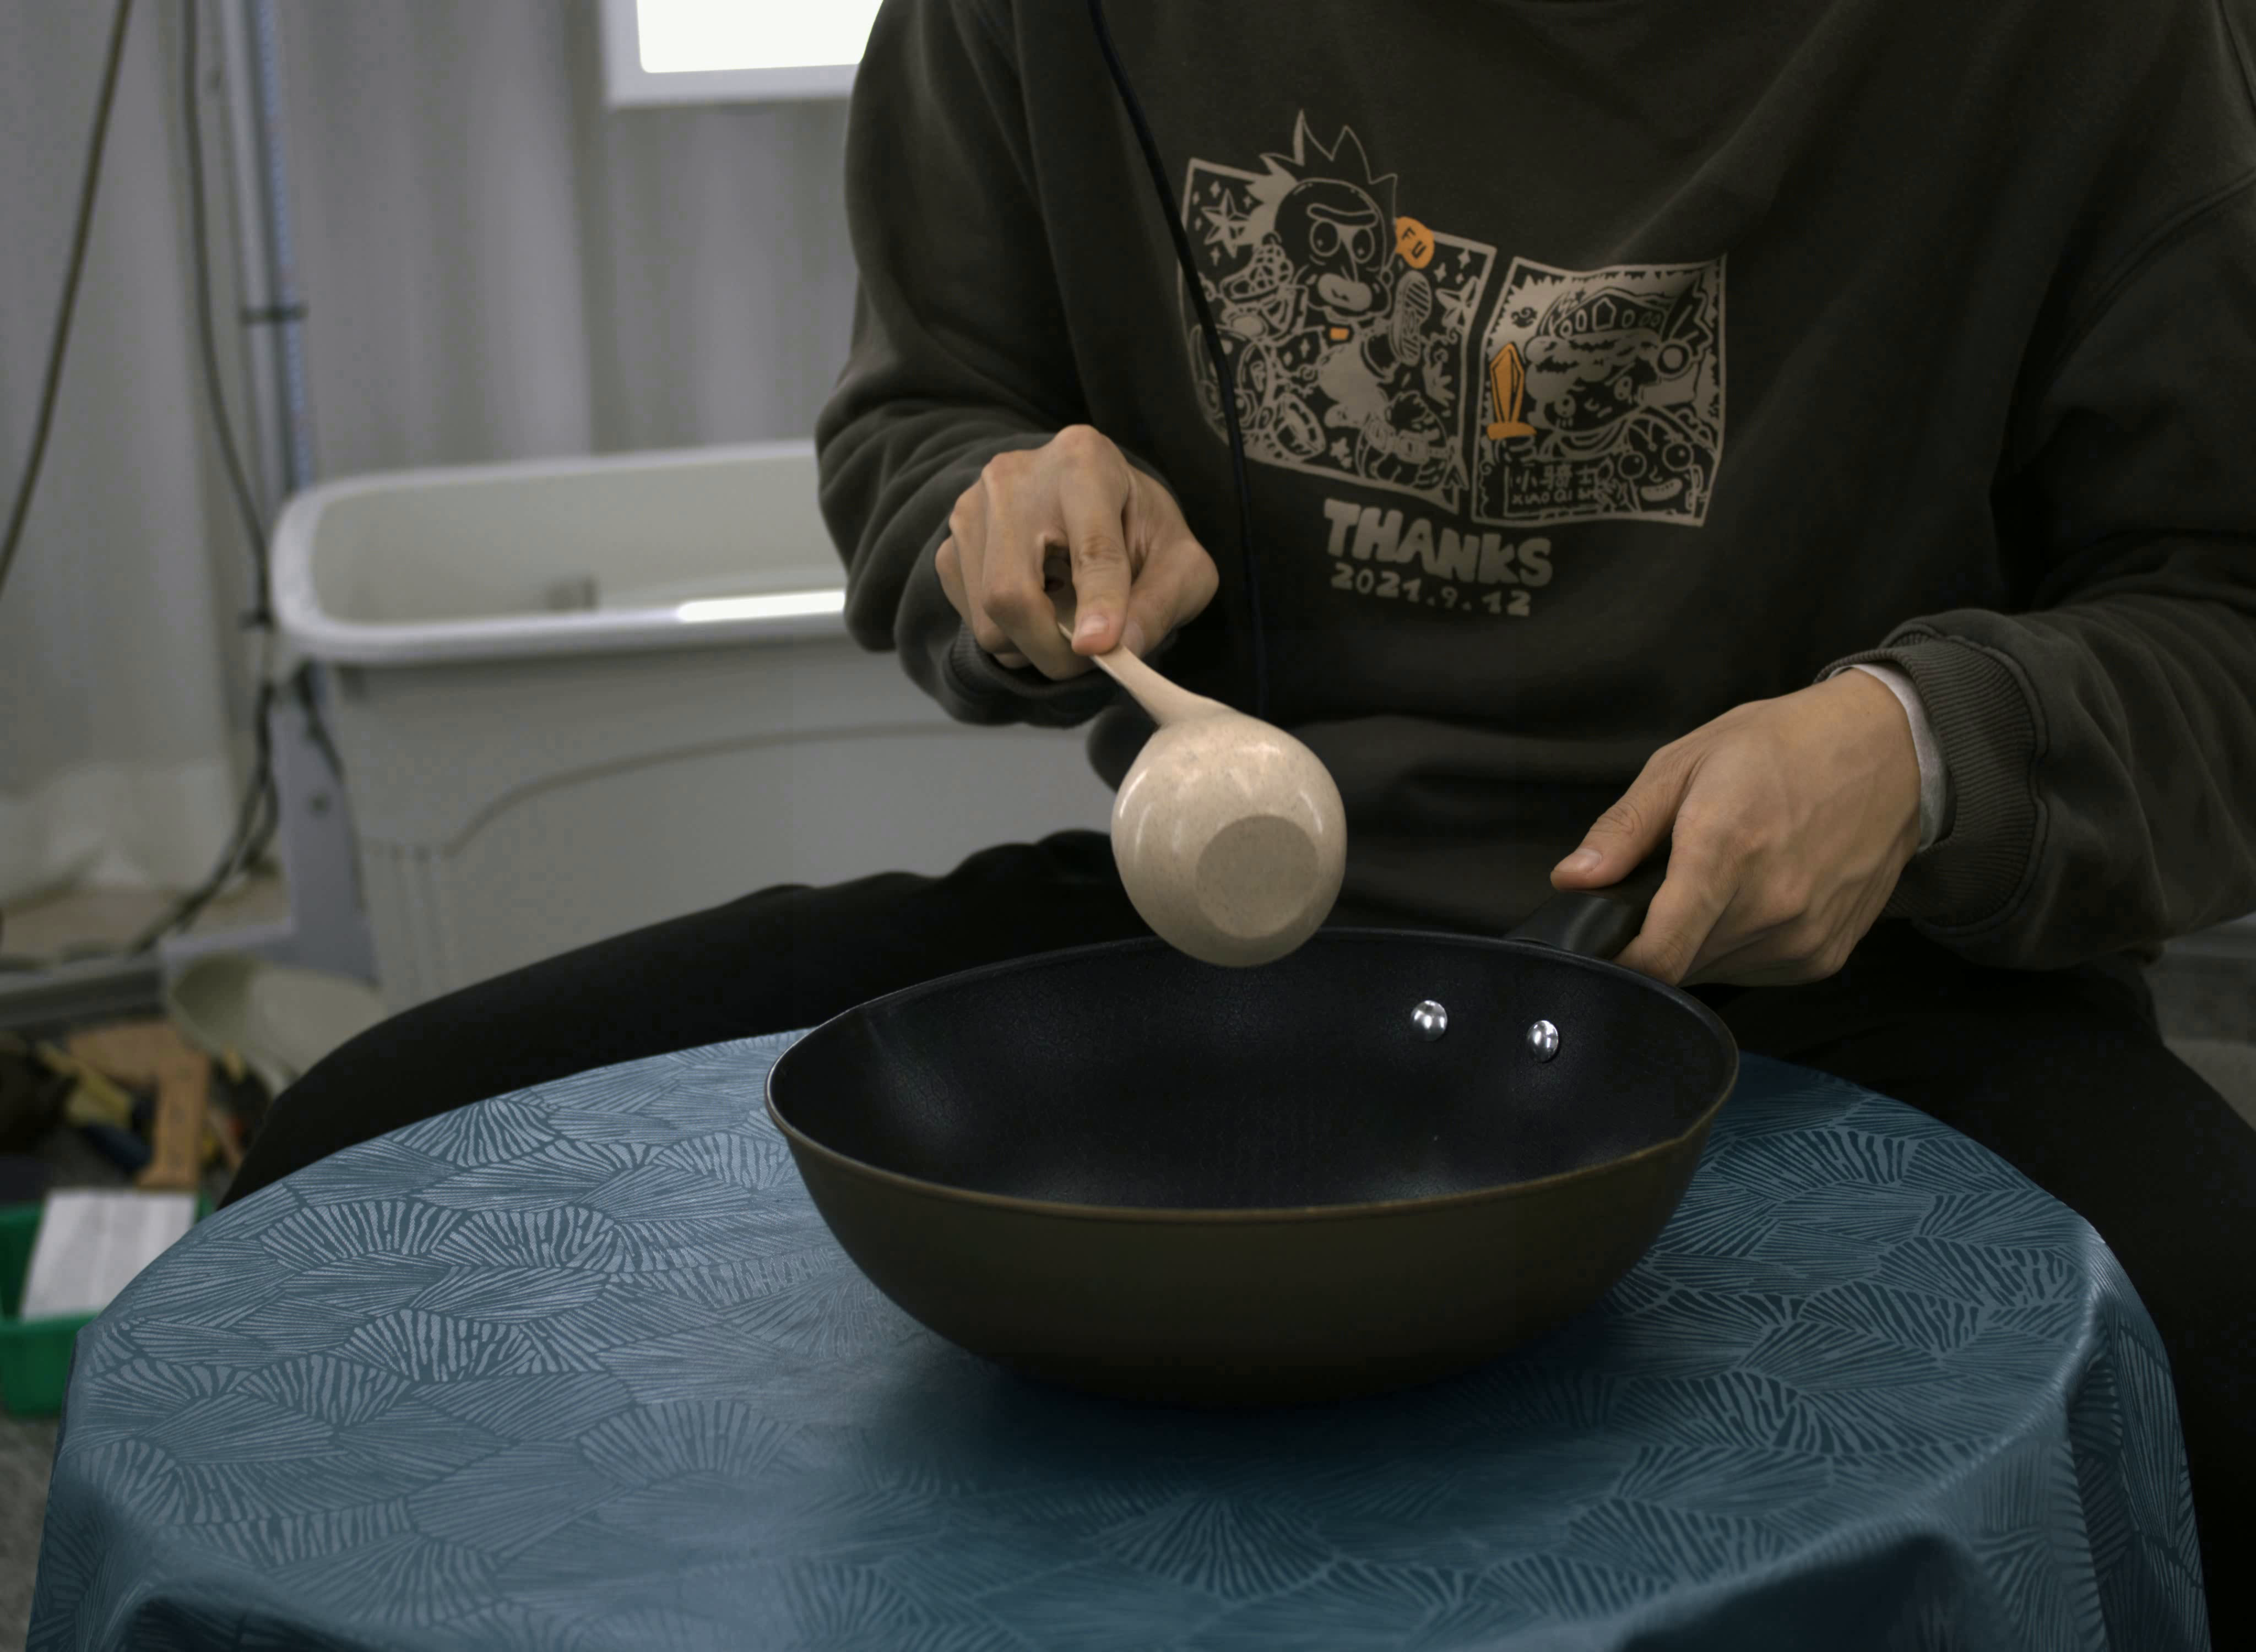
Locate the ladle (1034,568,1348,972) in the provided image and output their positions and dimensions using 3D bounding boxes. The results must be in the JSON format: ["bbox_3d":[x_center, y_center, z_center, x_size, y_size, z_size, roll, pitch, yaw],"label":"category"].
[{"bbox_3d":[0.009,-0.020,1.749,0.072,0.072,0.256,-14,17,-9],"label":"ladle"}]

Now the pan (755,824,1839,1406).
[{"bbox_3d":[0.087,0.084,1.661,0.289,0.086,0.463,7,17,35],"label":"pan"}]
